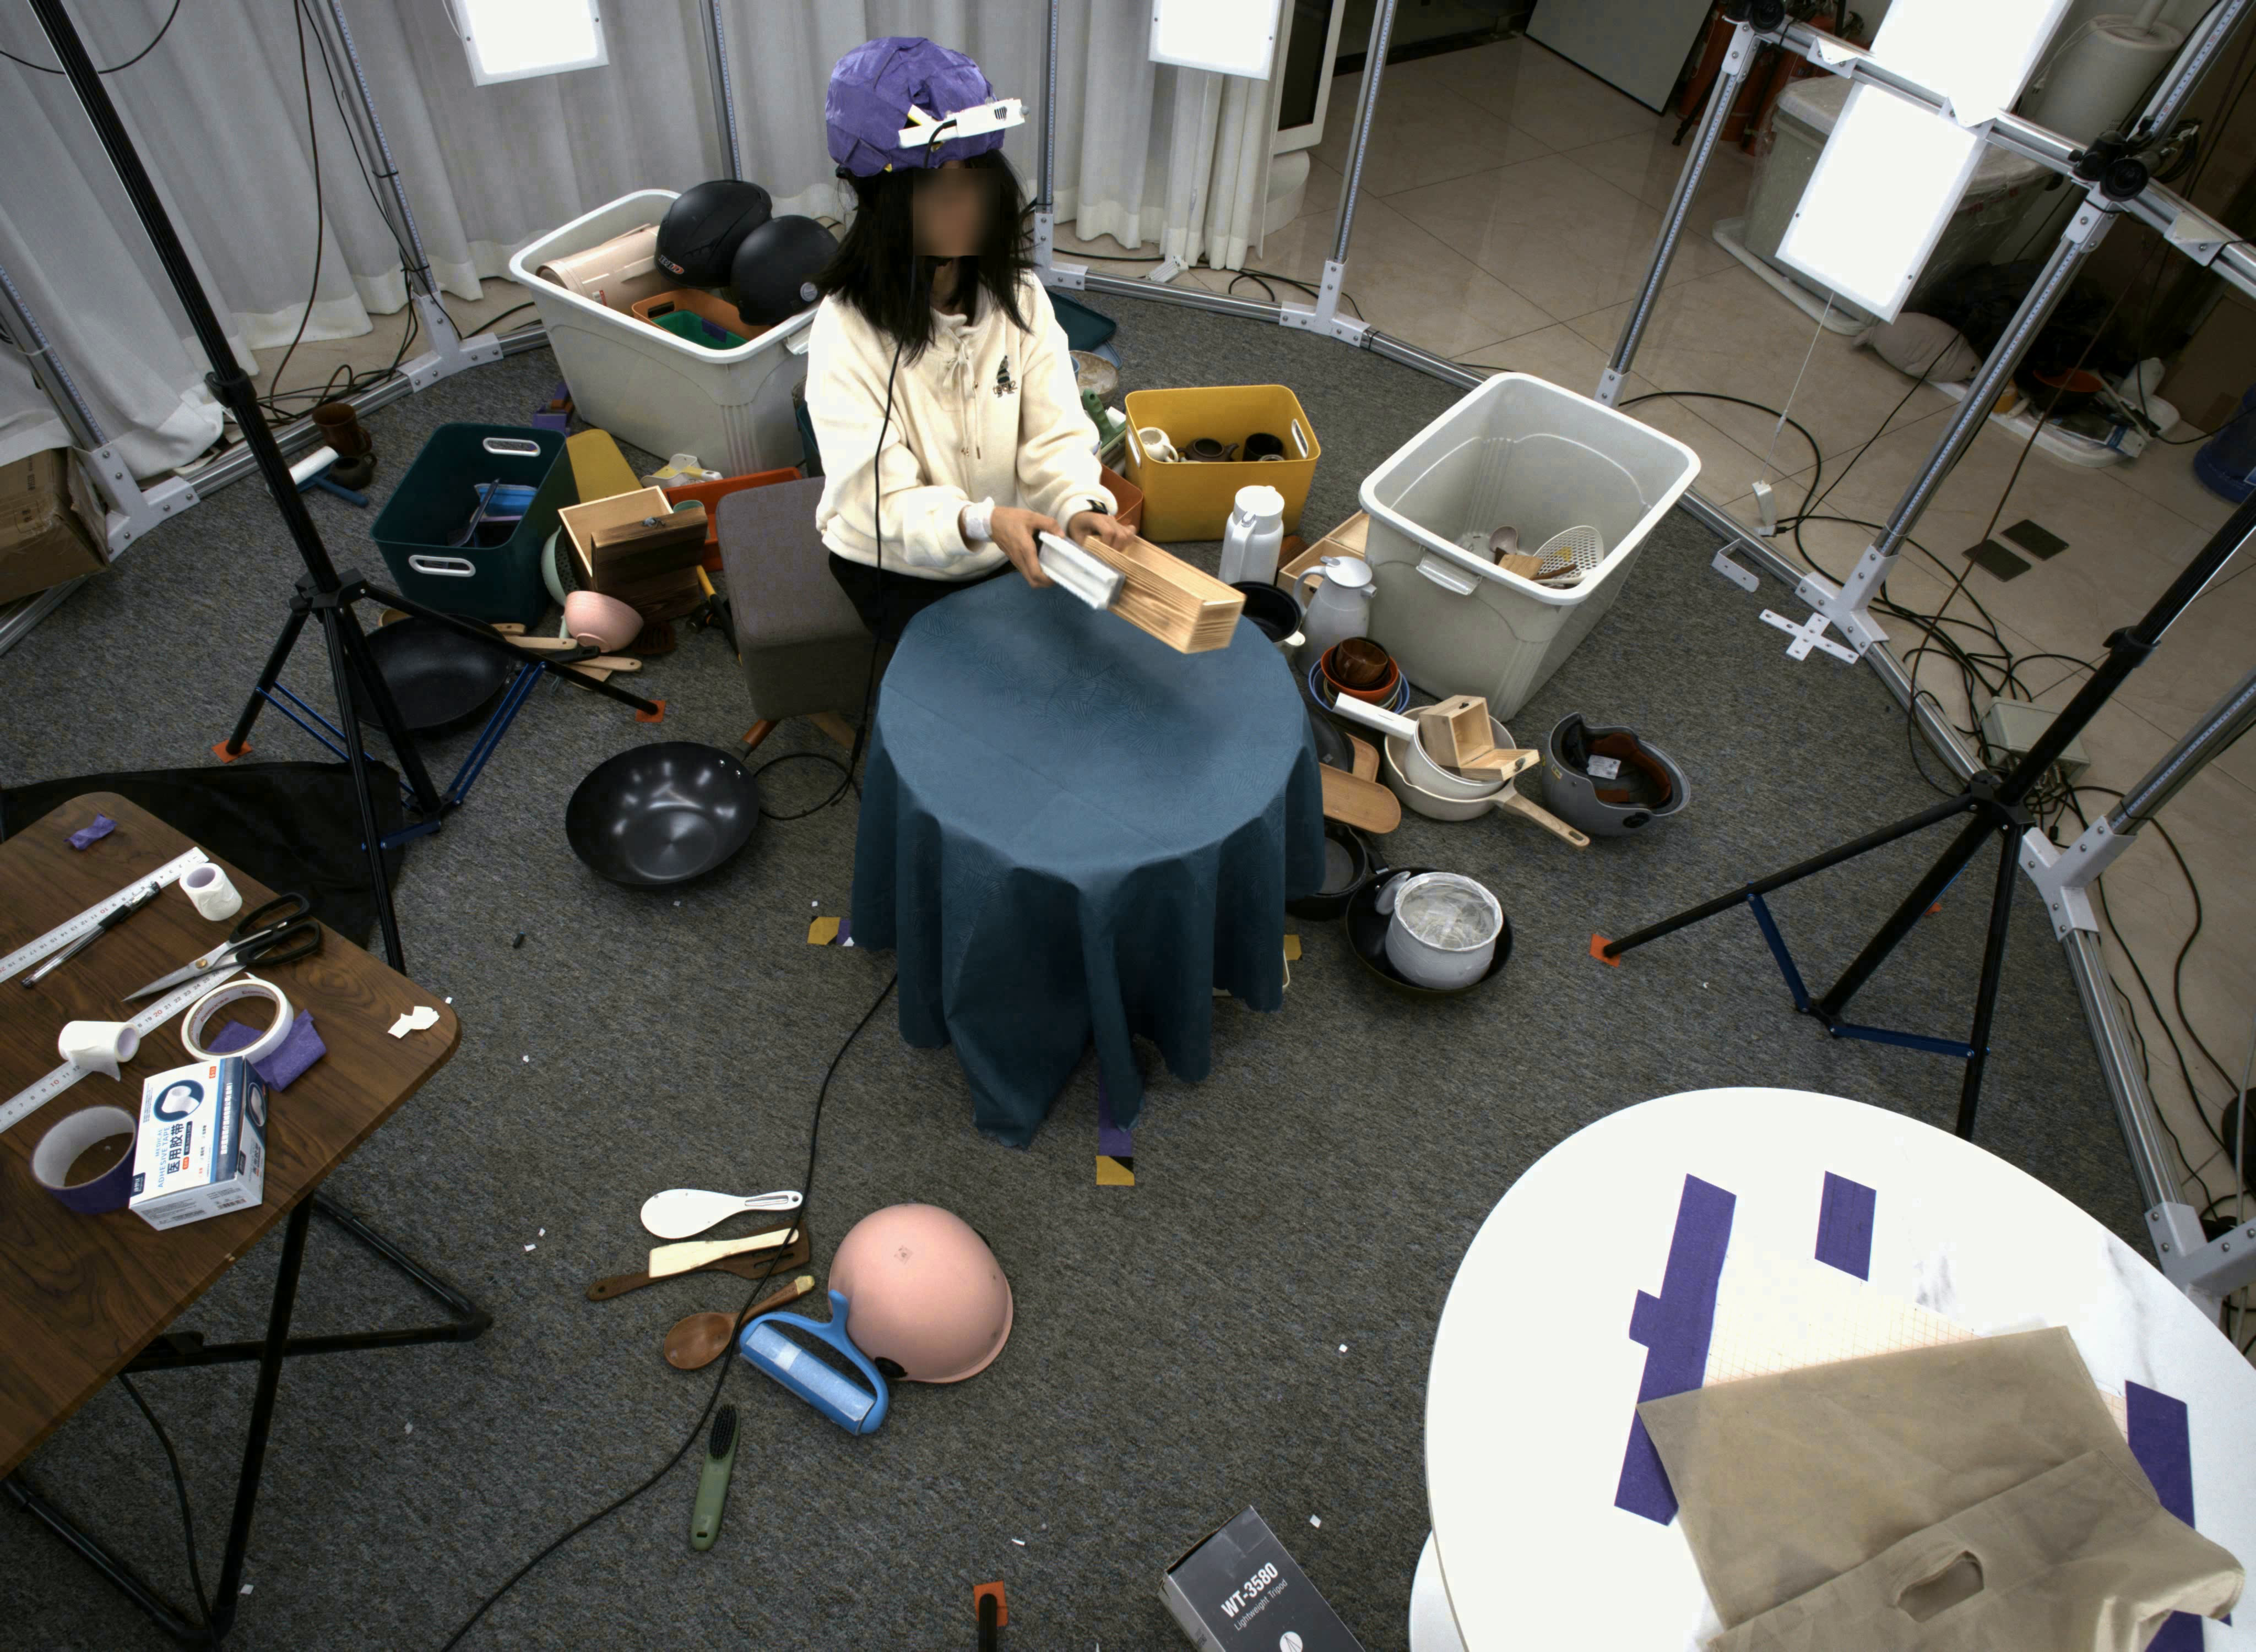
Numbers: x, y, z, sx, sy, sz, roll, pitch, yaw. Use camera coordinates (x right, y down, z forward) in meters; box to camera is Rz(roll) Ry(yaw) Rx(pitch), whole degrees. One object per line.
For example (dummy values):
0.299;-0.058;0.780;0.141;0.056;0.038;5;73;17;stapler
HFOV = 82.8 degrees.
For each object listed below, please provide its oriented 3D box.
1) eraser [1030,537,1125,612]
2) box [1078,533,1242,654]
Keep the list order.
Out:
-0.069;-0.345;1.759;0.136;0.049;0.046;36;31;29;eraser
0.036;-0.325;1.778;0.214;0.079;0.108;35;30;28;box
